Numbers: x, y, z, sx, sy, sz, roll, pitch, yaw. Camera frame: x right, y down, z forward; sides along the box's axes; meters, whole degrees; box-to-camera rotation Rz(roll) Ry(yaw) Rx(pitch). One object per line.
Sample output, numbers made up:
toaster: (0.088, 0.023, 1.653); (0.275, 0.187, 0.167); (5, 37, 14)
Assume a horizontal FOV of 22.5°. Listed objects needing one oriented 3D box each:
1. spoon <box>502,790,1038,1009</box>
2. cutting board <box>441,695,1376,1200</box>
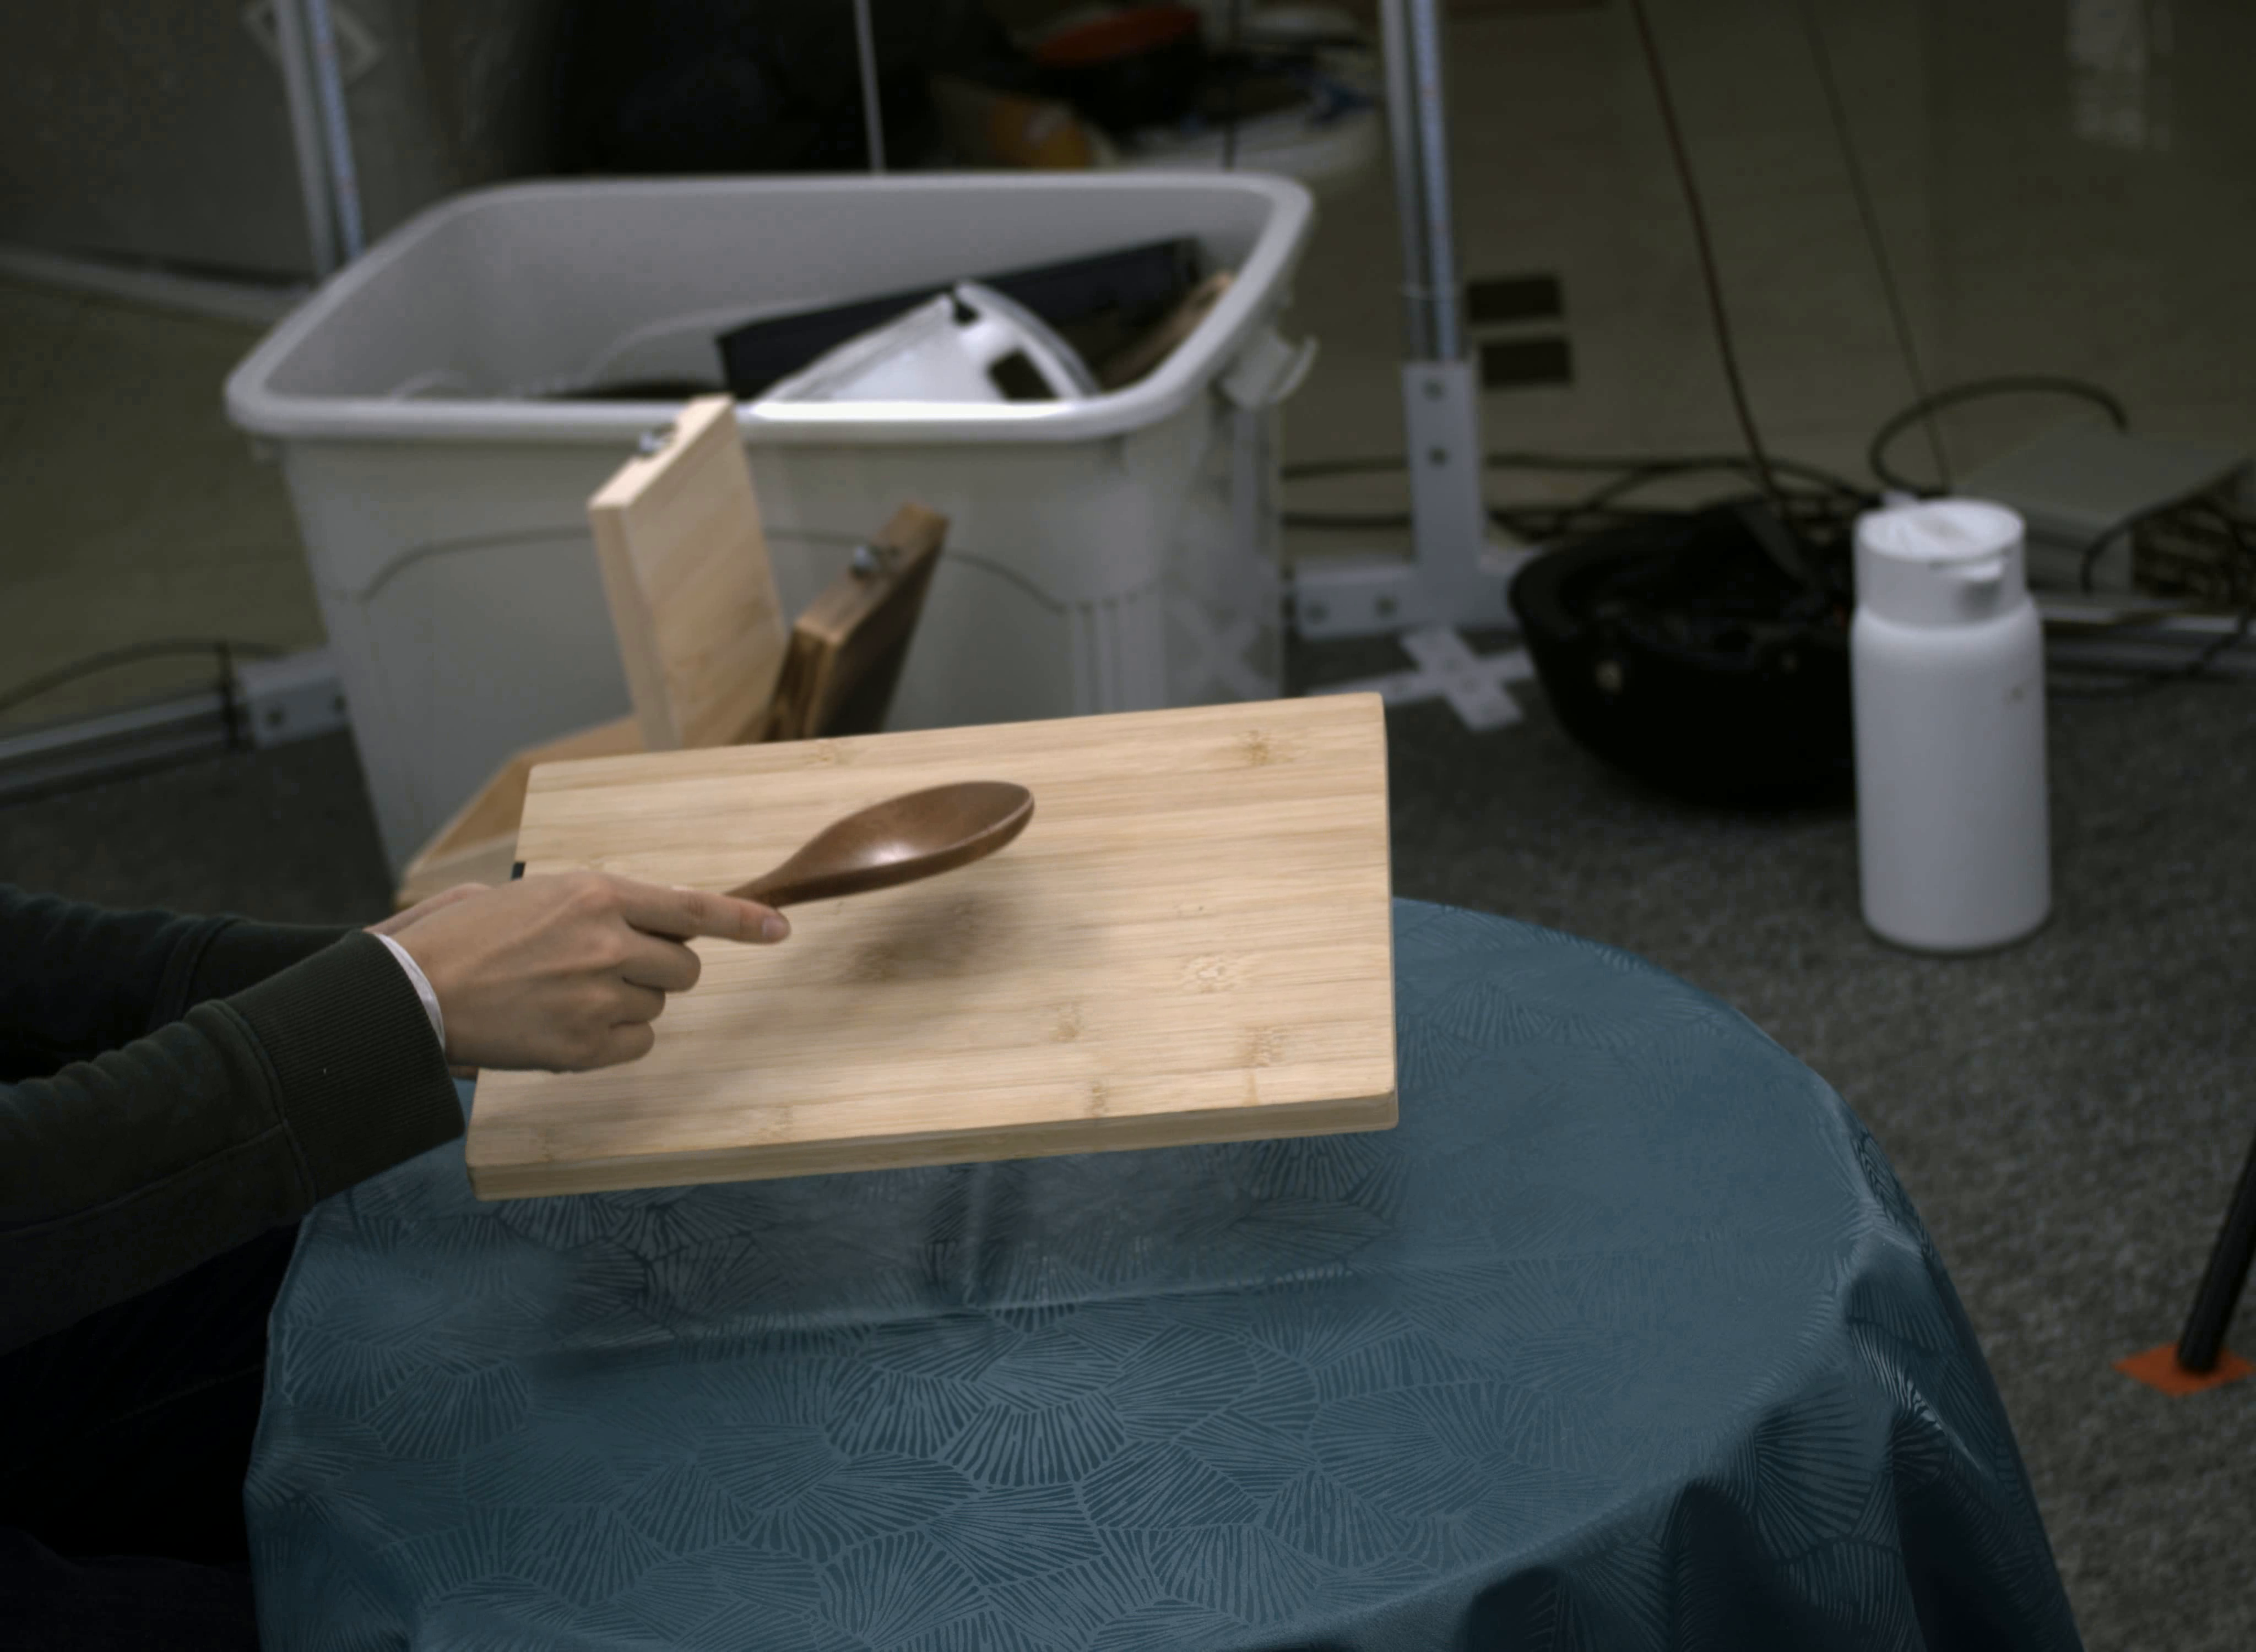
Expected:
spoon: (-0.130, 0.028, 2.075); (0.215, 0.017, 0.075); (-19, 23, -23)
cutting board: (-0.076, 0.043, 2.141); (0.348, 0.024, 0.246); (-5, 38, 5)
